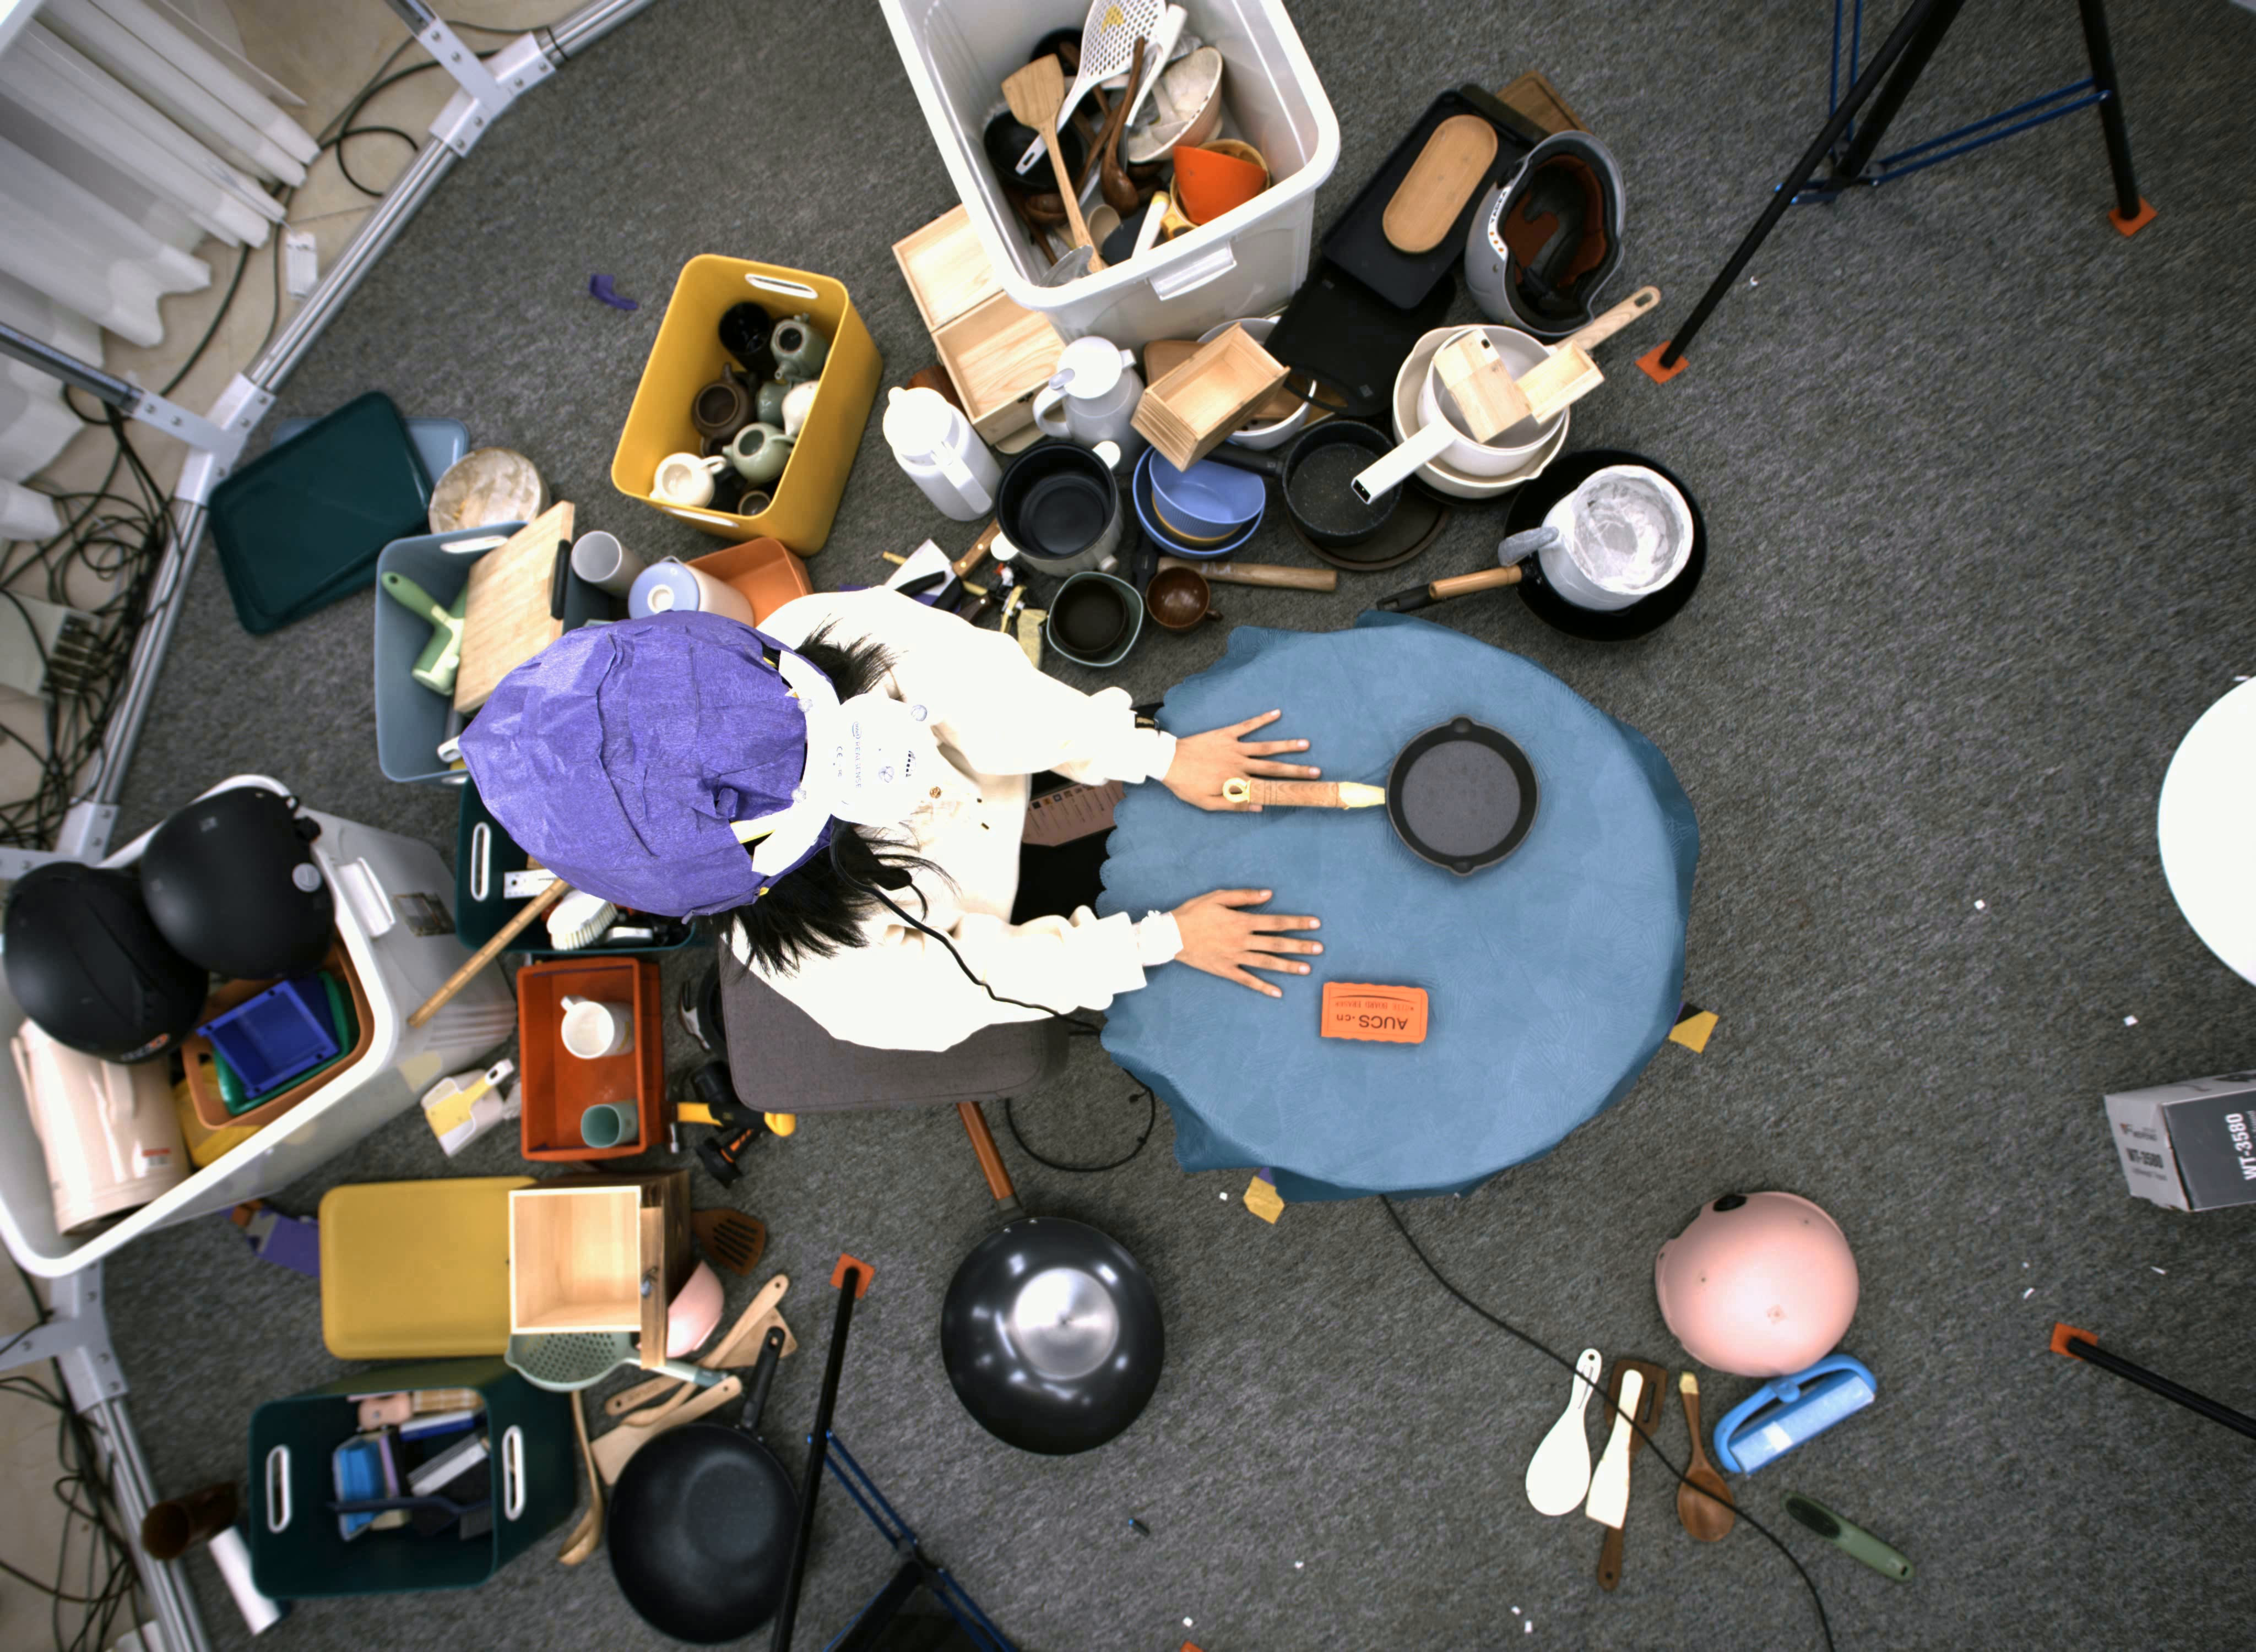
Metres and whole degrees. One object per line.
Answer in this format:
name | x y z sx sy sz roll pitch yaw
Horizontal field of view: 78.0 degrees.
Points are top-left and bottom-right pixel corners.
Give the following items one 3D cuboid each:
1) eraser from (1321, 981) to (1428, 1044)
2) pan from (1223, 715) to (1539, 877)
eraser | 0.257 0.193 1.444 0.108 0.023 0.059 4 87 10
pan | 0.263 -0.035 1.442 0.325 0.049 0.168 2 87 9
